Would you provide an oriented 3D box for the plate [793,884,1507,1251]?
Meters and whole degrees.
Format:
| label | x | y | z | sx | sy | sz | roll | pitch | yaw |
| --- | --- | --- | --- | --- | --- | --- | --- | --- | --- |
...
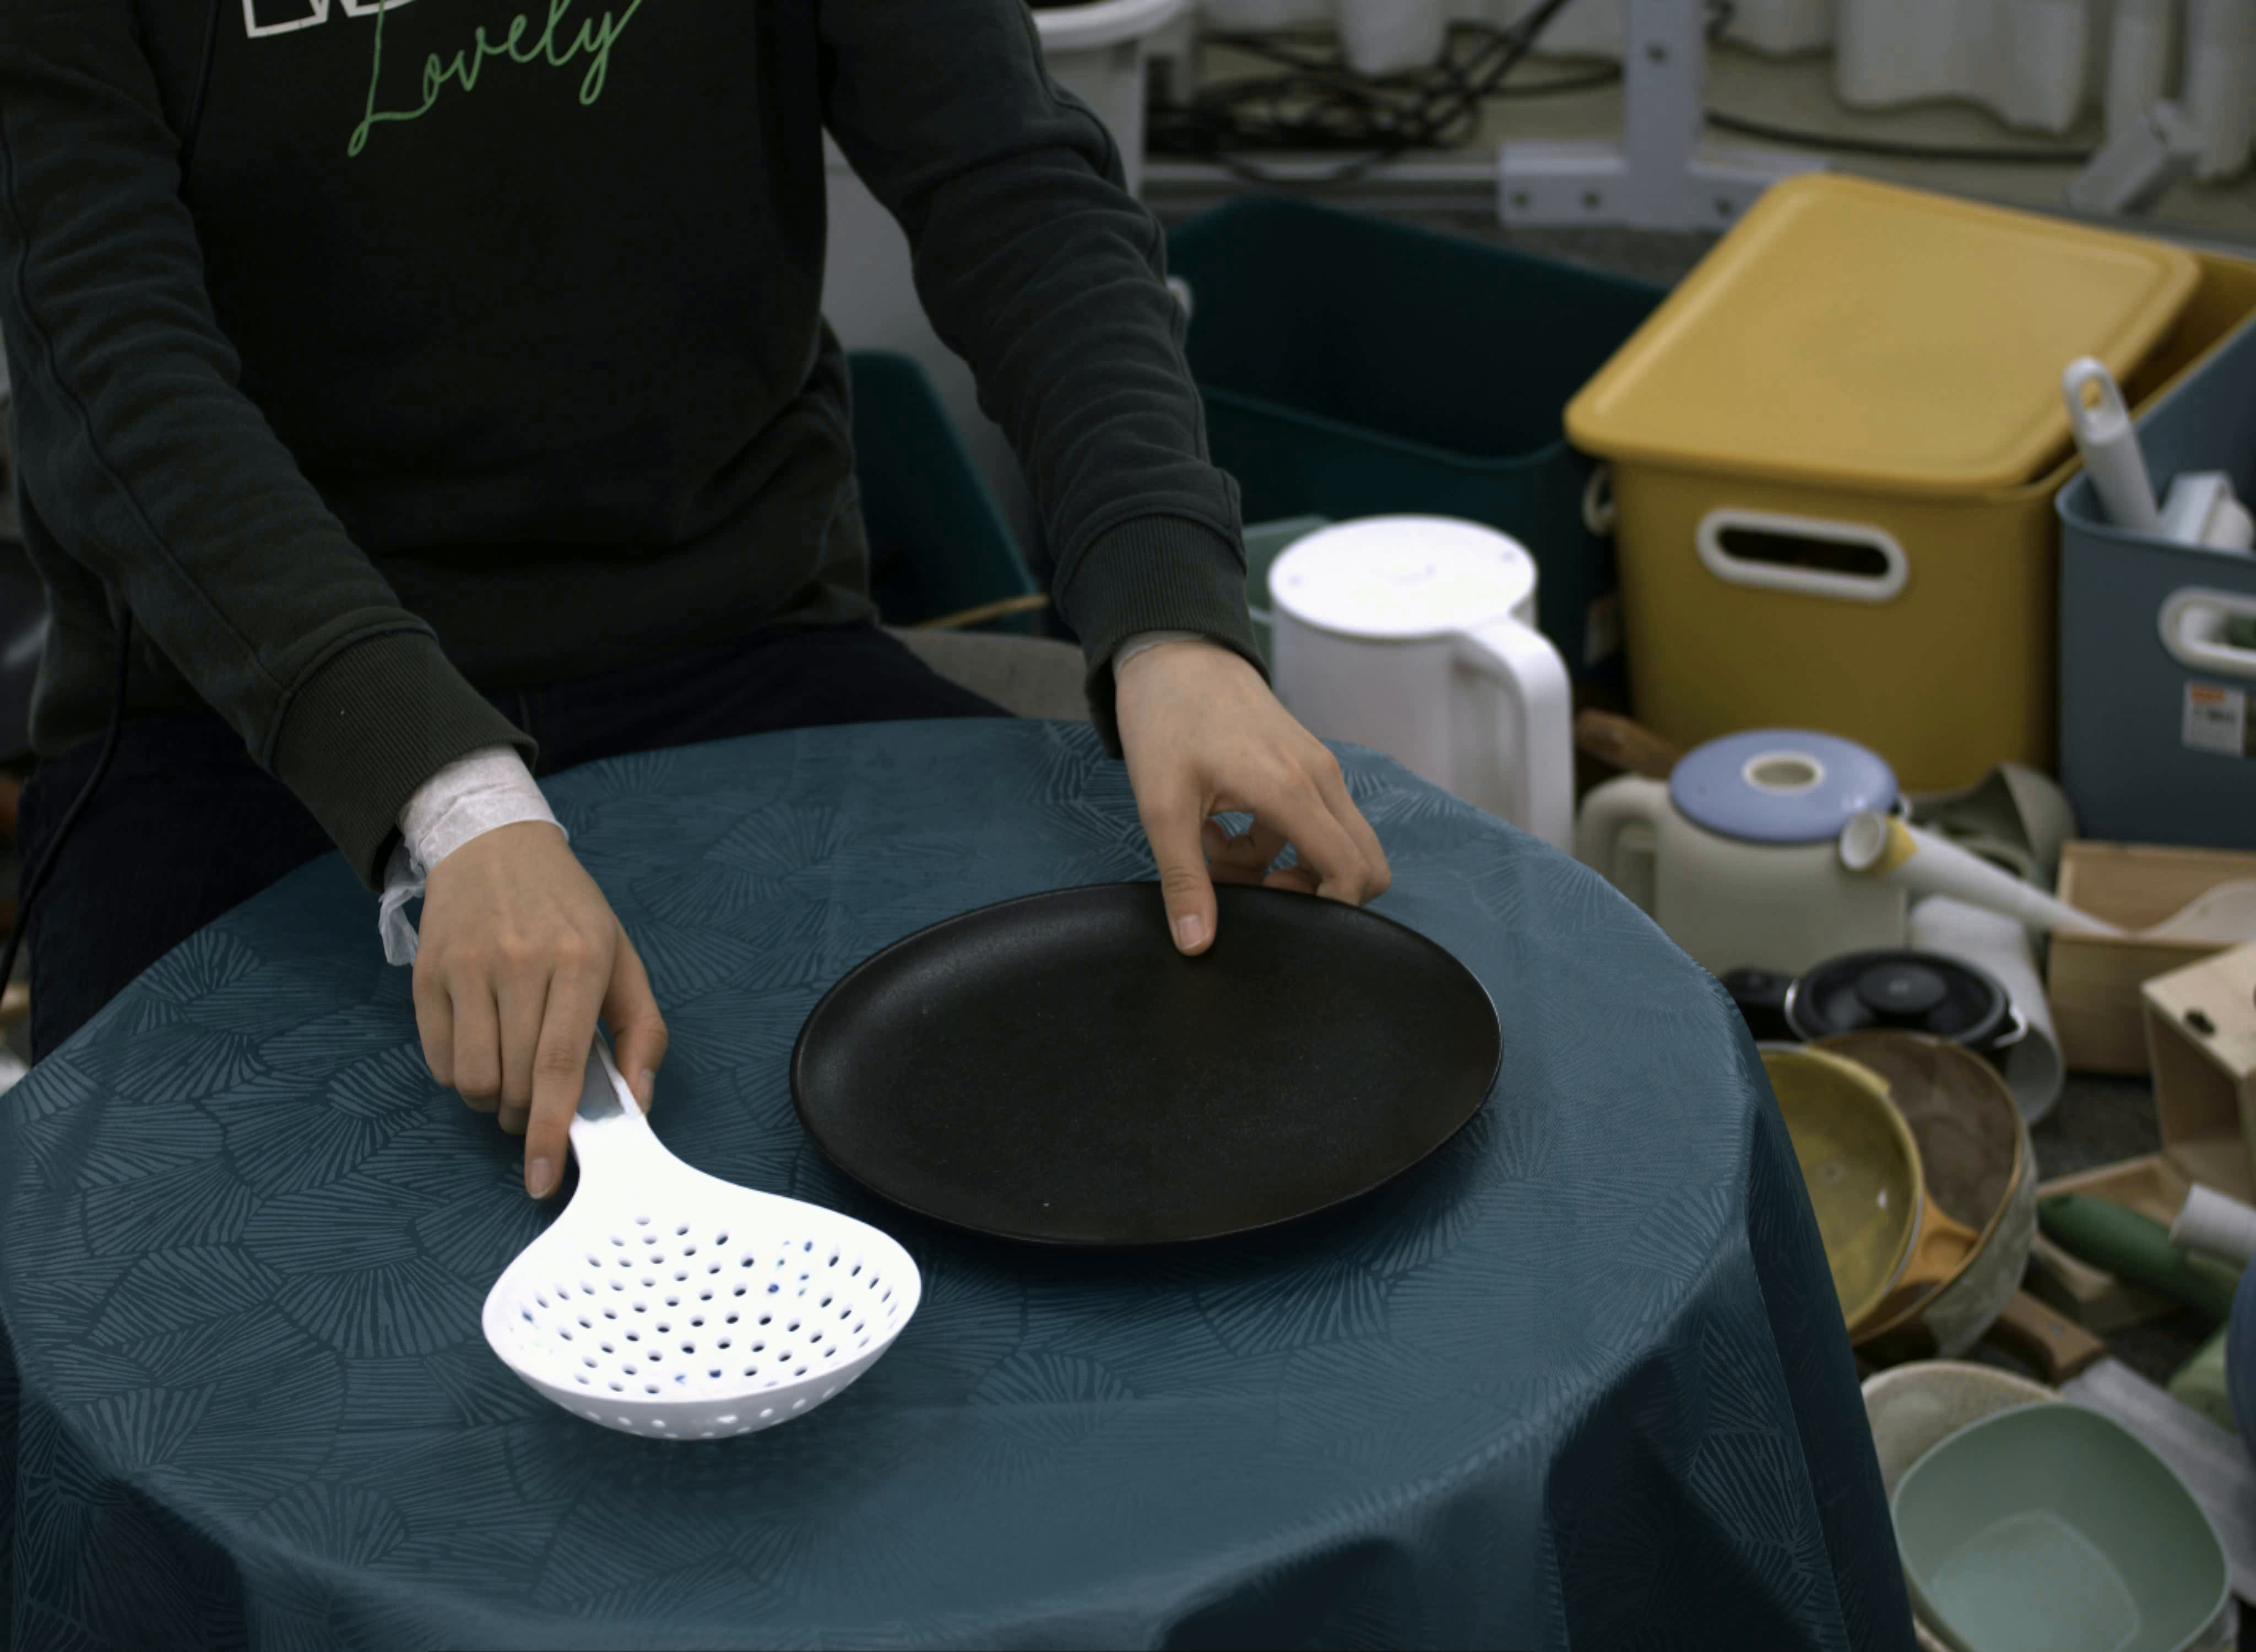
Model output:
| label | x | y | z | sx | sy | sz | roll | pitch | yaw |
| --- | --- | --- | --- | --- | --- | --- | --- | --- | --- |
| plate | 0.007 | 0.086 | 1.905 | 0.243 | 0.023 | 0.248 | -2 | 27 | 2 |

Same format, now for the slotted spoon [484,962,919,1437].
| label | x | y | z | sx | sy | sz | roll | pitch | yaw |
| --- | --- | --- | --- | --- | --- | --- | --- | --- | --- |
| slotted spoon | -0.163 | 0.116 | 1.840 | 0.136 | 0.045 | 0.353 | -7 | 26 | -15 |
